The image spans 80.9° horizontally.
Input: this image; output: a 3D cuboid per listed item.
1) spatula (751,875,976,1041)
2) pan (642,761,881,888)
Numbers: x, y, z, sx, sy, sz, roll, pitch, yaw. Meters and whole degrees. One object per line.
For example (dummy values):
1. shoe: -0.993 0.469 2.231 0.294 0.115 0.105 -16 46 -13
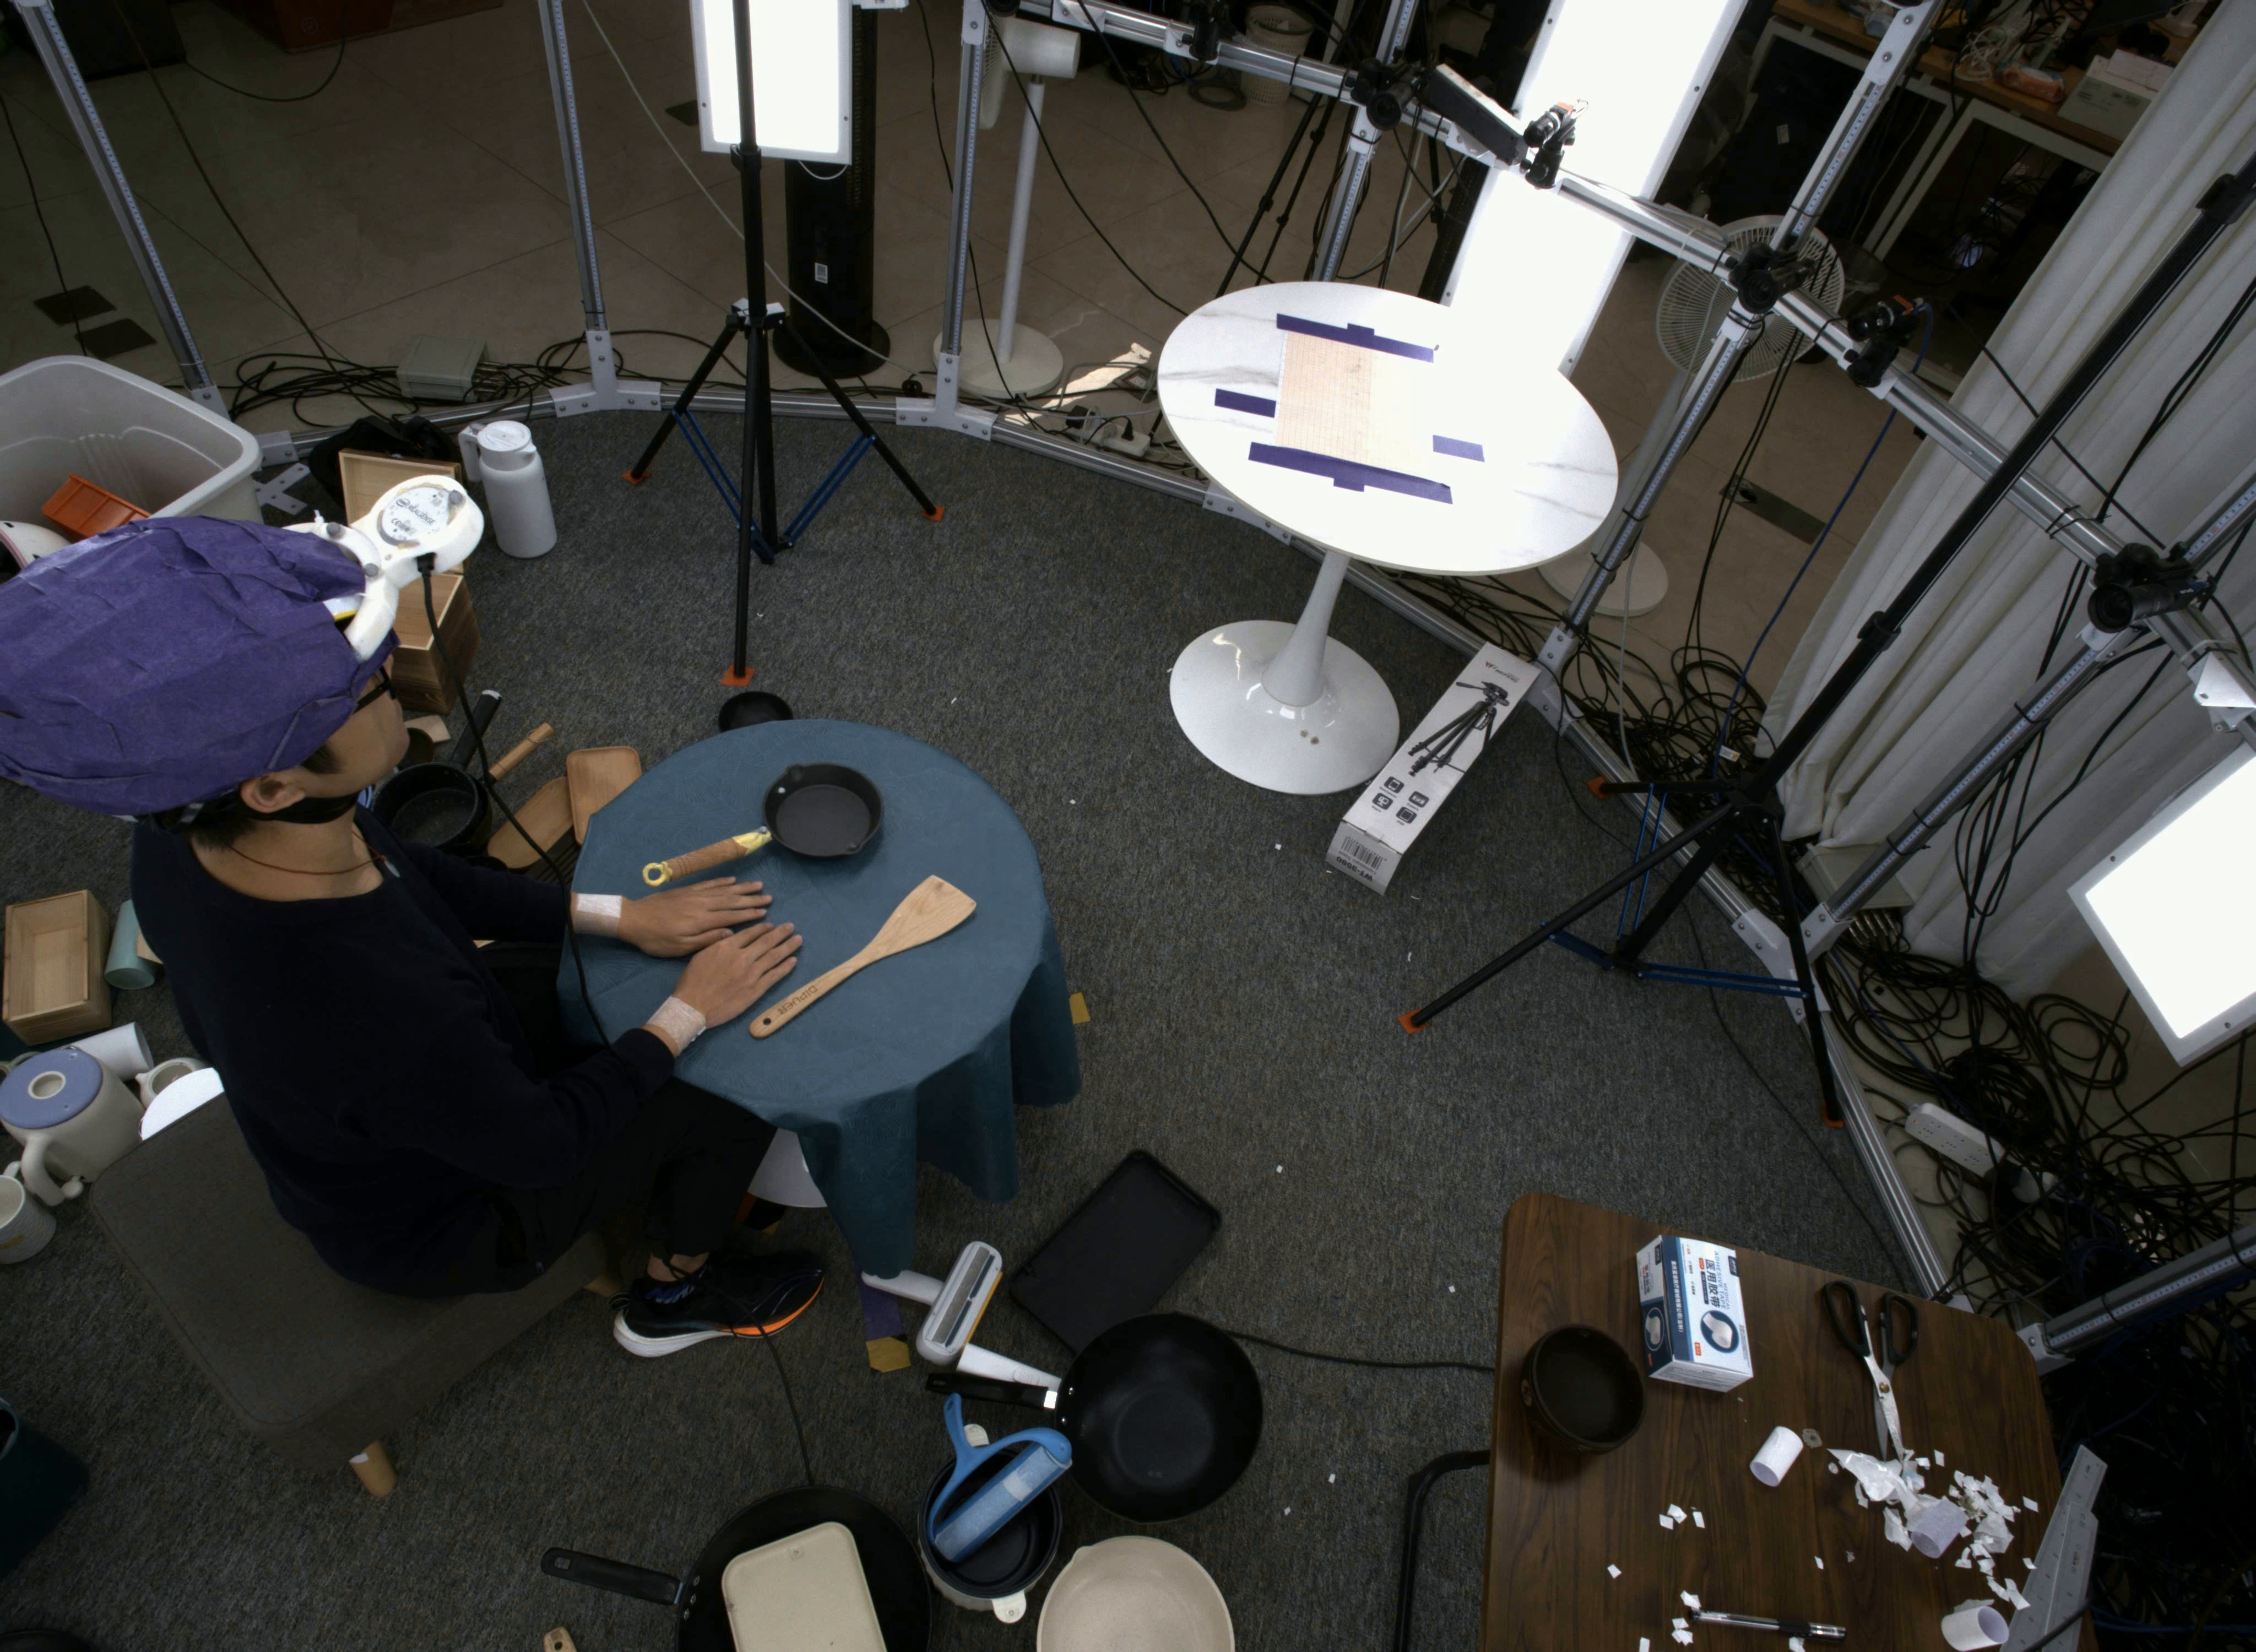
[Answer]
1. spatula: -0.330 0.161 1.608 0.078 0.017 0.328 41 55 18
2. pan: -0.470 0.011 1.661 0.326 0.050 0.165 -25 63 -31
